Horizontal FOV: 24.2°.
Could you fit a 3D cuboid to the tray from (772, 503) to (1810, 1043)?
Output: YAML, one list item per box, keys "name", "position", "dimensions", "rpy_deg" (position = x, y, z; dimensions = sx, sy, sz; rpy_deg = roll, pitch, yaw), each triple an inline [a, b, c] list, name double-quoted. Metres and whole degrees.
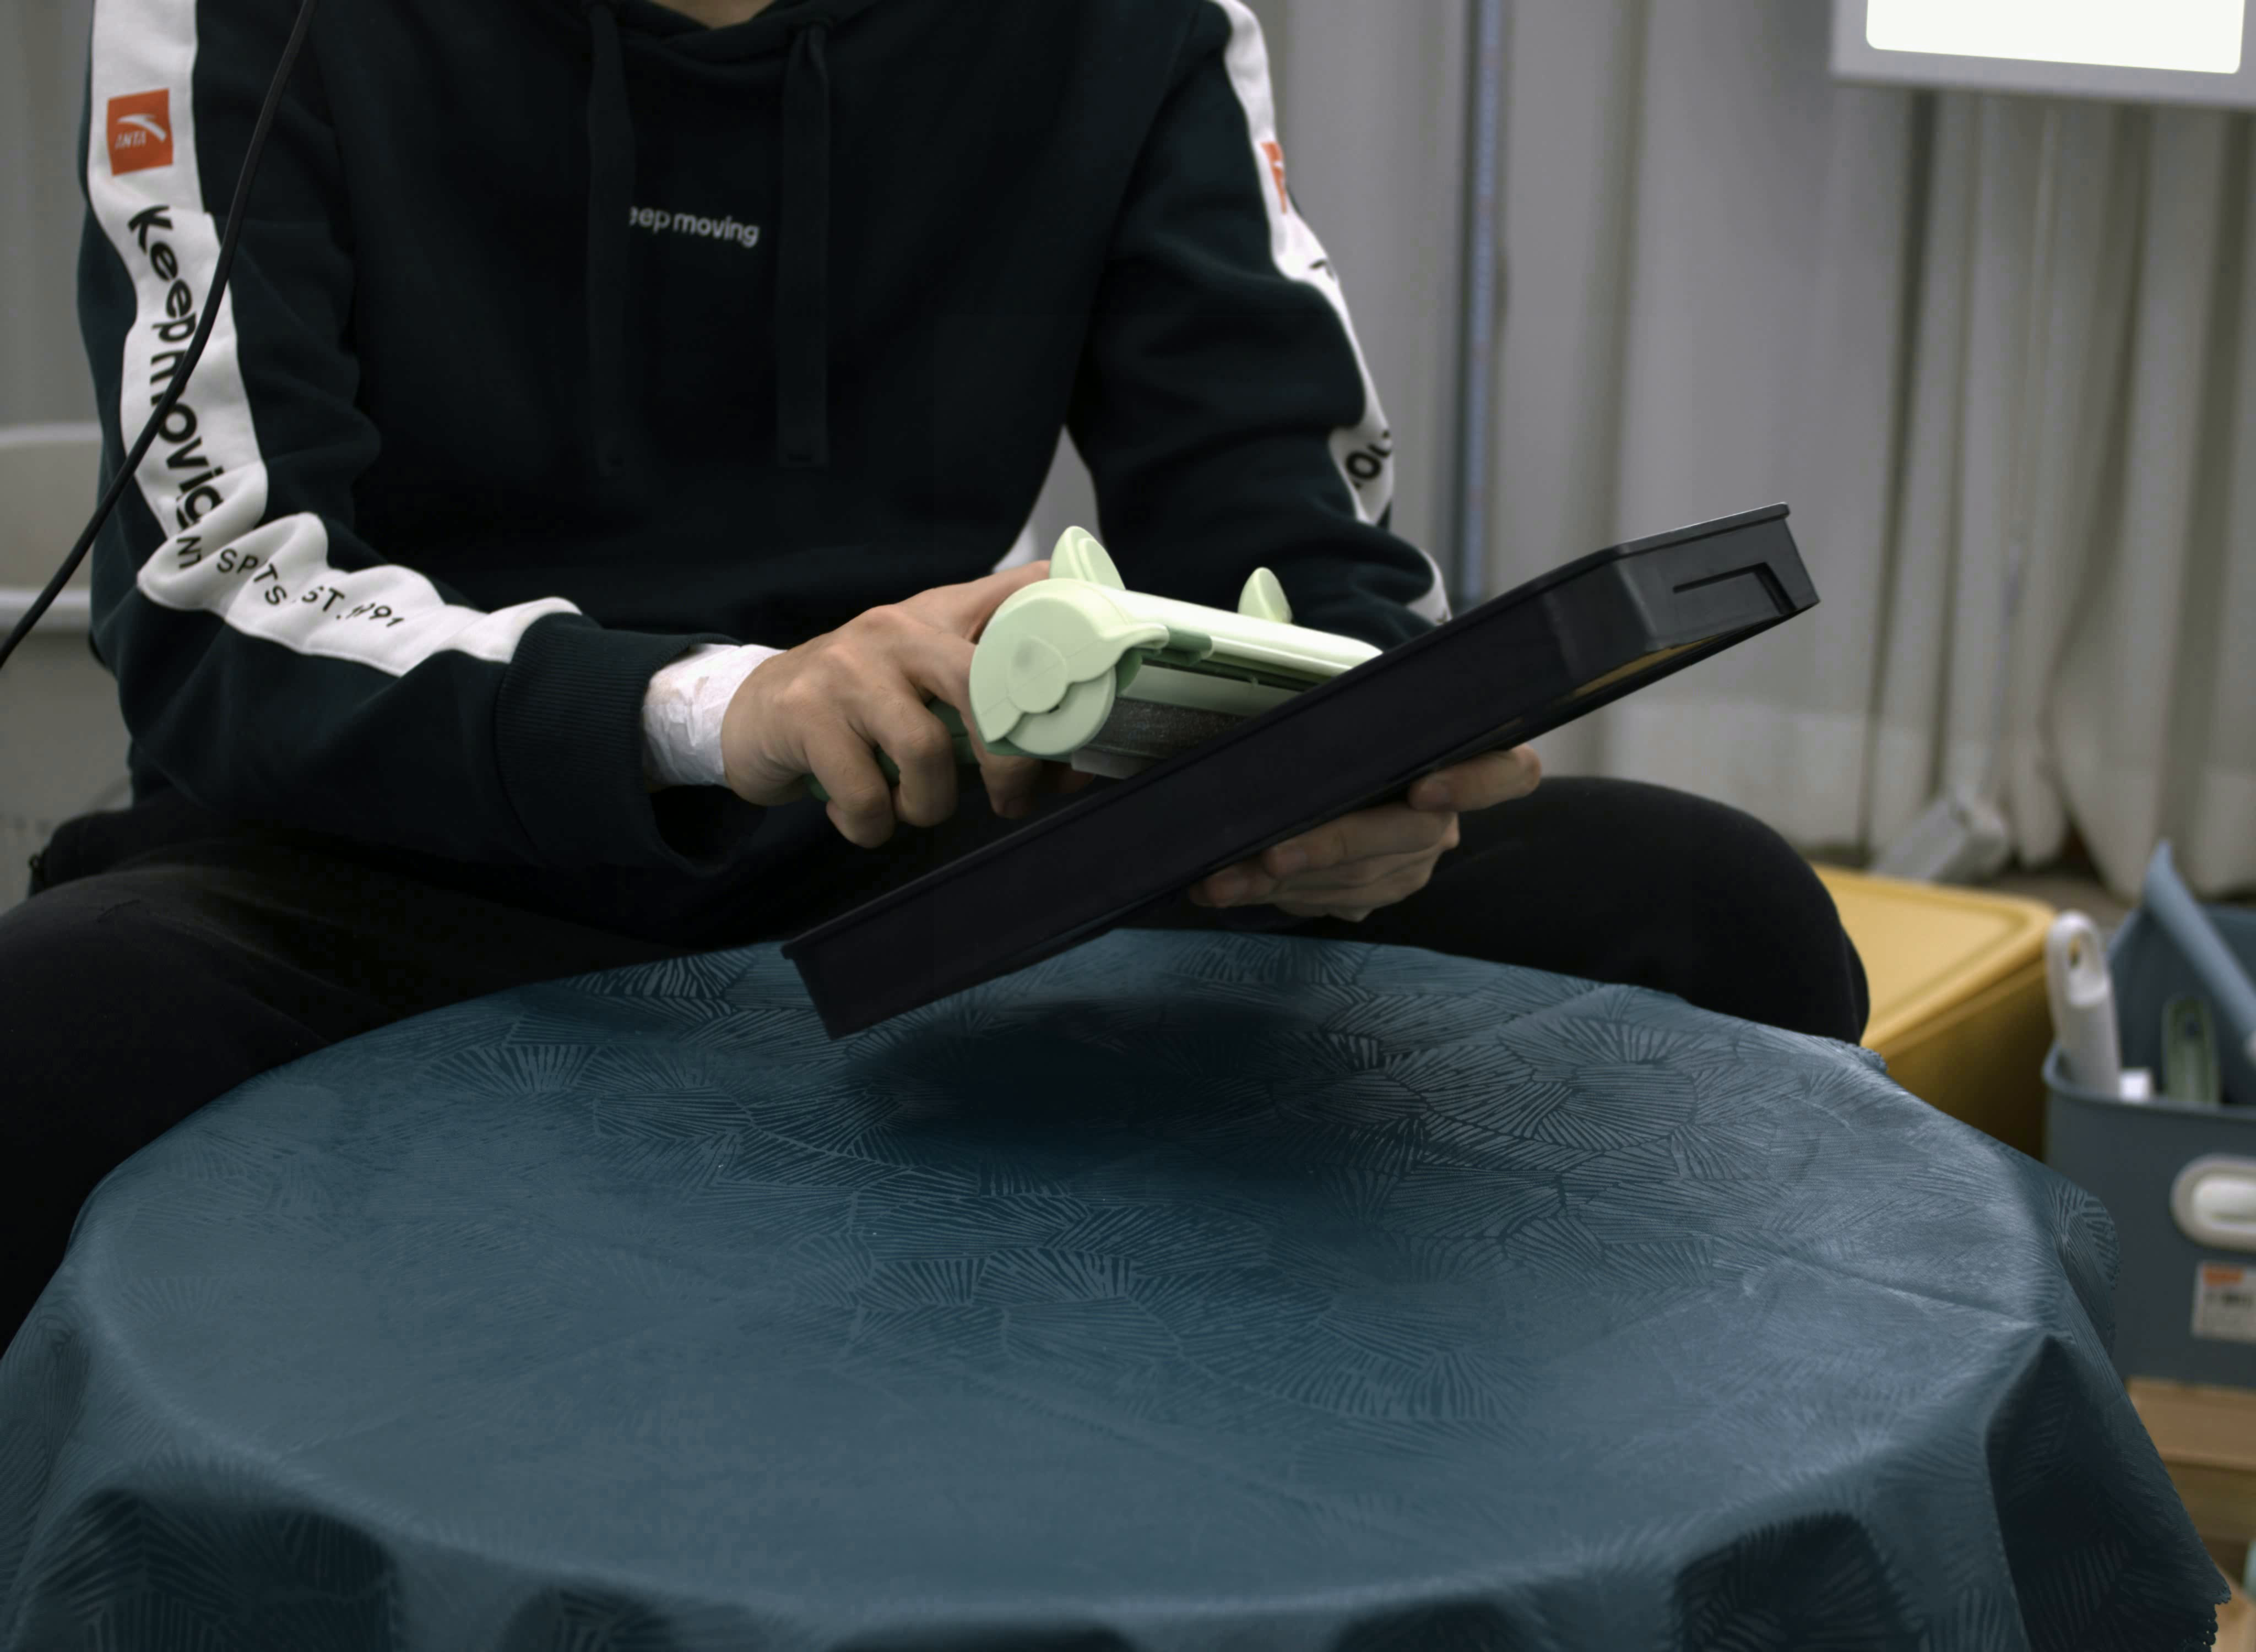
- name: "tray"
  position: [0.053, -0.017, 1.668]
  dimensions: [0.316, 0.037, 0.185]
  rpy_deg: [-26, -4, 27]

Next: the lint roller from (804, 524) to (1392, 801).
- name: "lint roller"
  position: [-0.025, -0.048, 1.666]
  dimensions: [0.181, 0.082, 0.200]
  rpy_deg: [1, -3, 31]
